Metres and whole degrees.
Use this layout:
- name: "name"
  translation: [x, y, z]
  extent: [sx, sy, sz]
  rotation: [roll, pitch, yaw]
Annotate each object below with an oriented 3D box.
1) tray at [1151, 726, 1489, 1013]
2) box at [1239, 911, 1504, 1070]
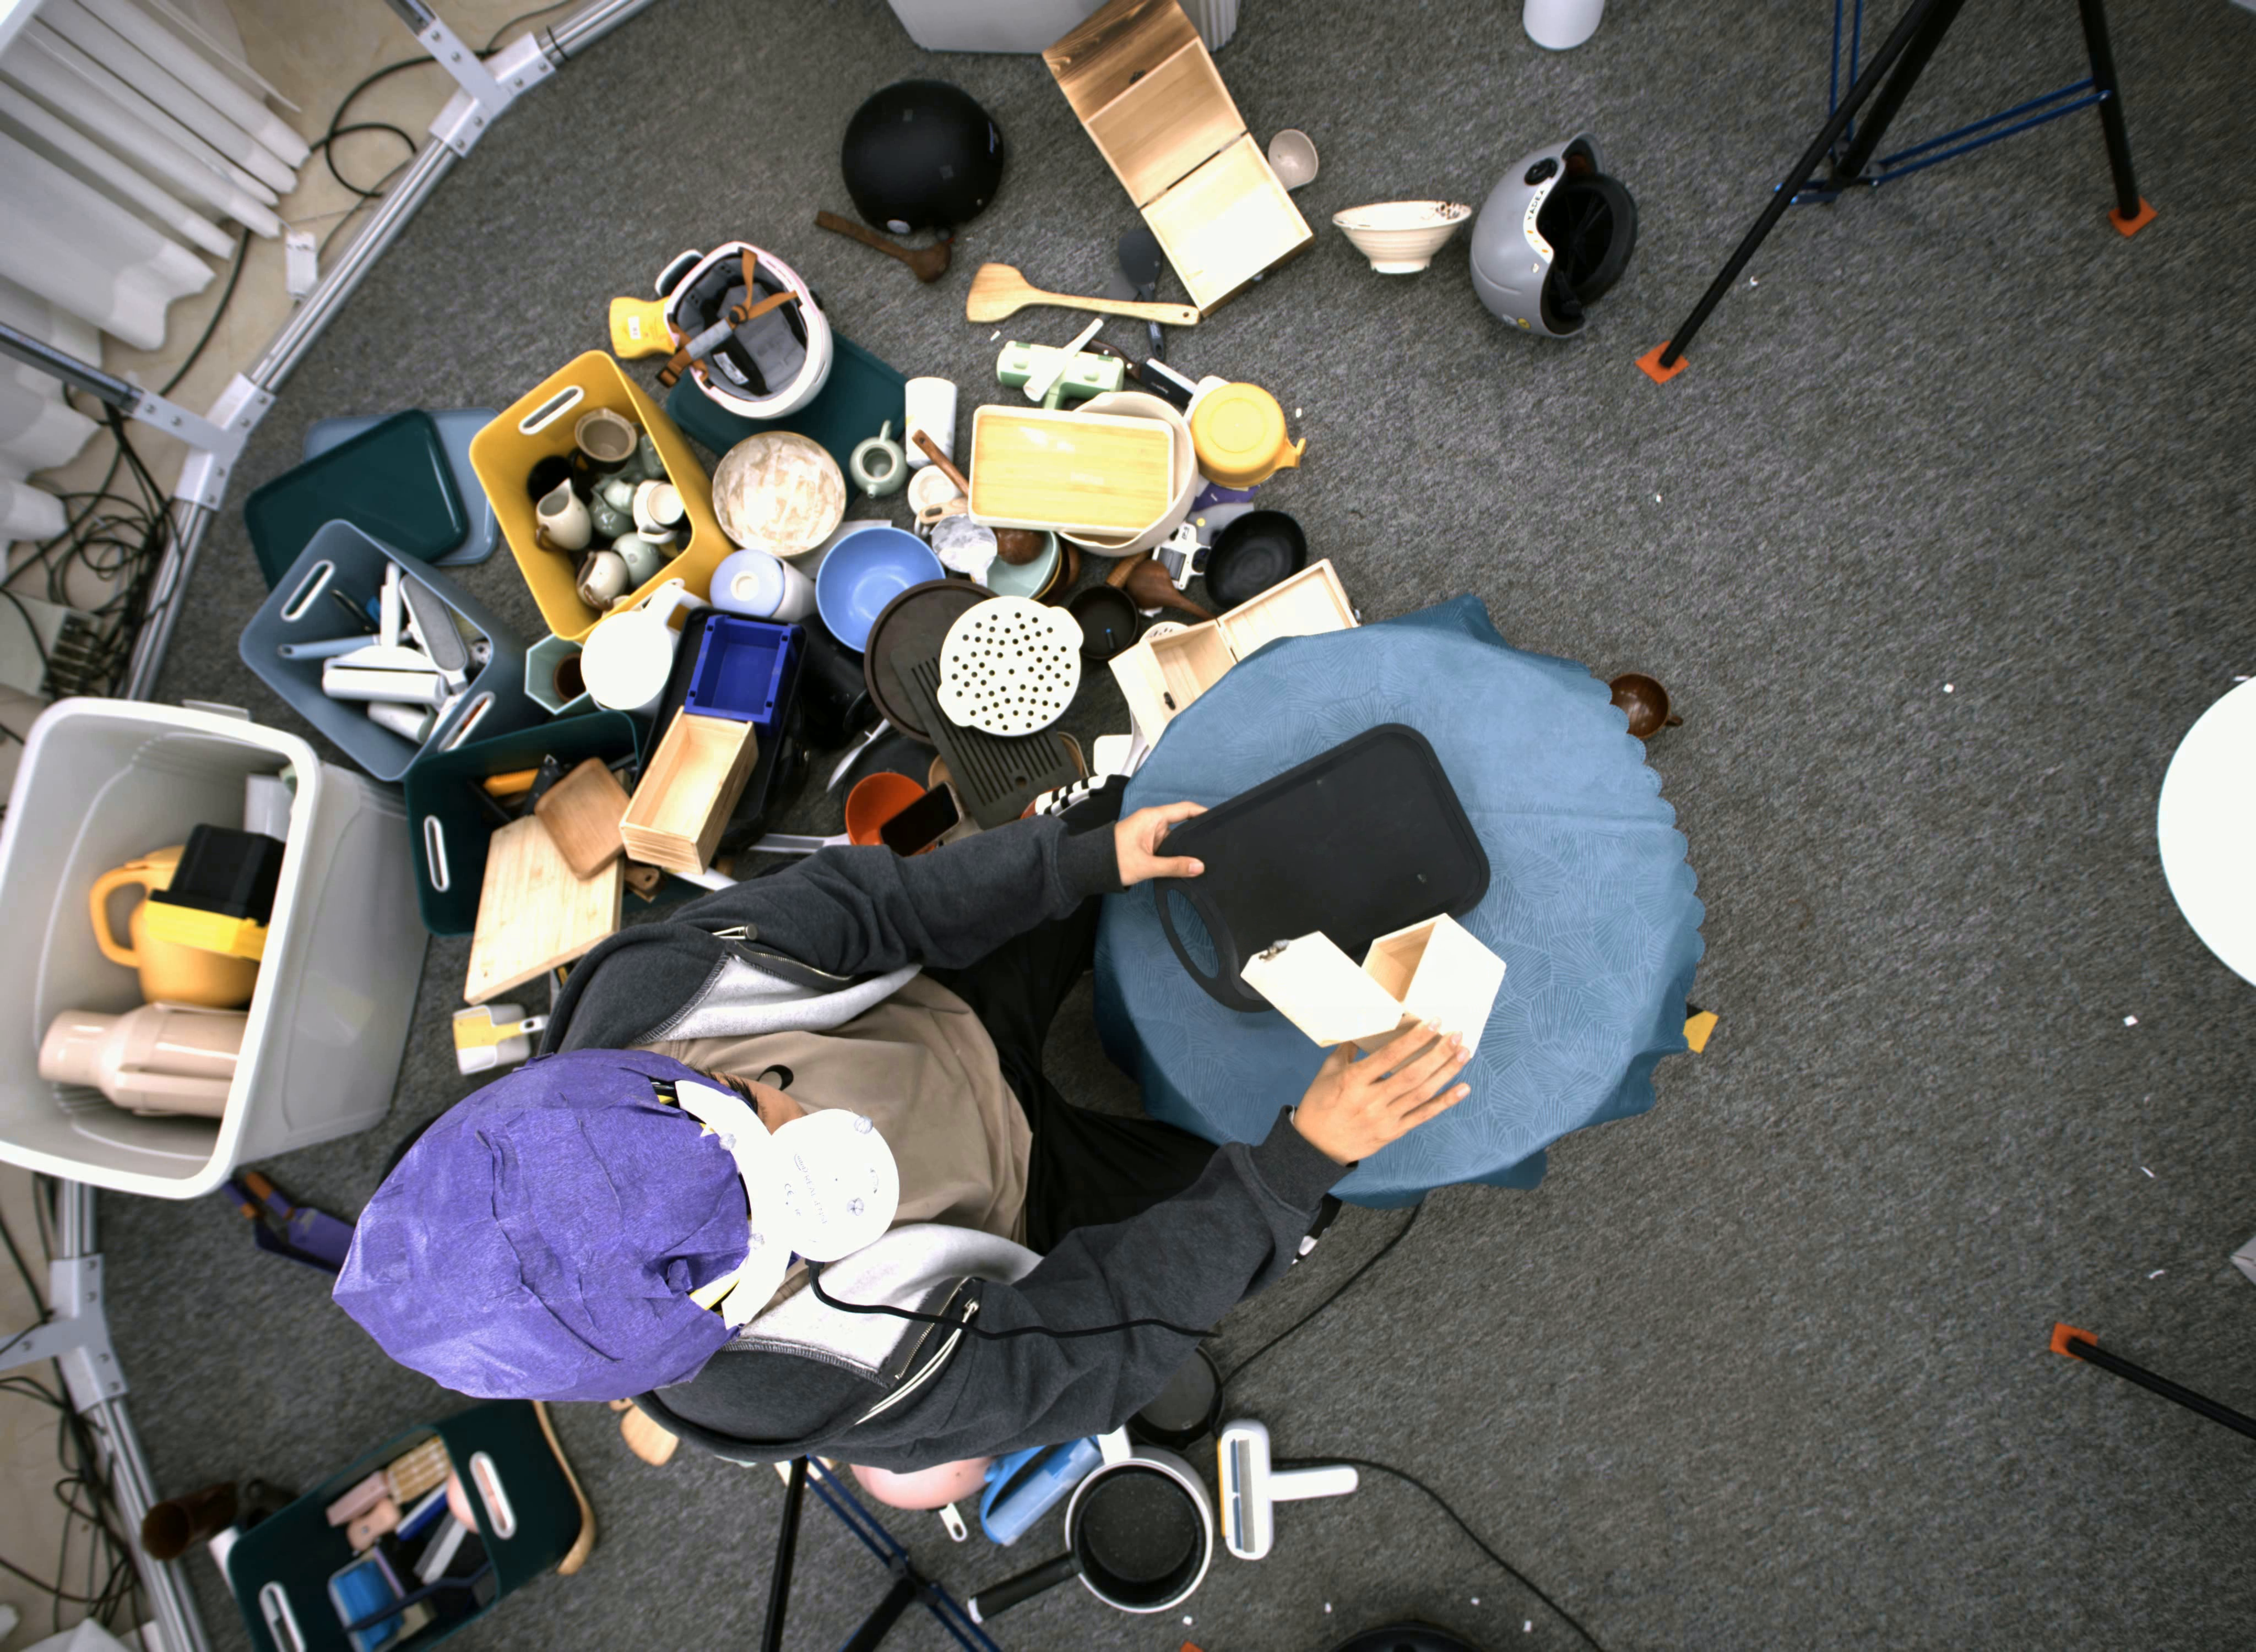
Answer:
- name: "tray"
  translation: [0.187, 0.048, 1.390]
  extent: [0.327, 0.010, 0.211]
  rotation: [-26, 92, 5]
- name: "box"
  translation: [0.213, 0.122, 1.206]
  extent: [0.185, 0.104, 0.131]
  rotation: [38, 60, -15]
